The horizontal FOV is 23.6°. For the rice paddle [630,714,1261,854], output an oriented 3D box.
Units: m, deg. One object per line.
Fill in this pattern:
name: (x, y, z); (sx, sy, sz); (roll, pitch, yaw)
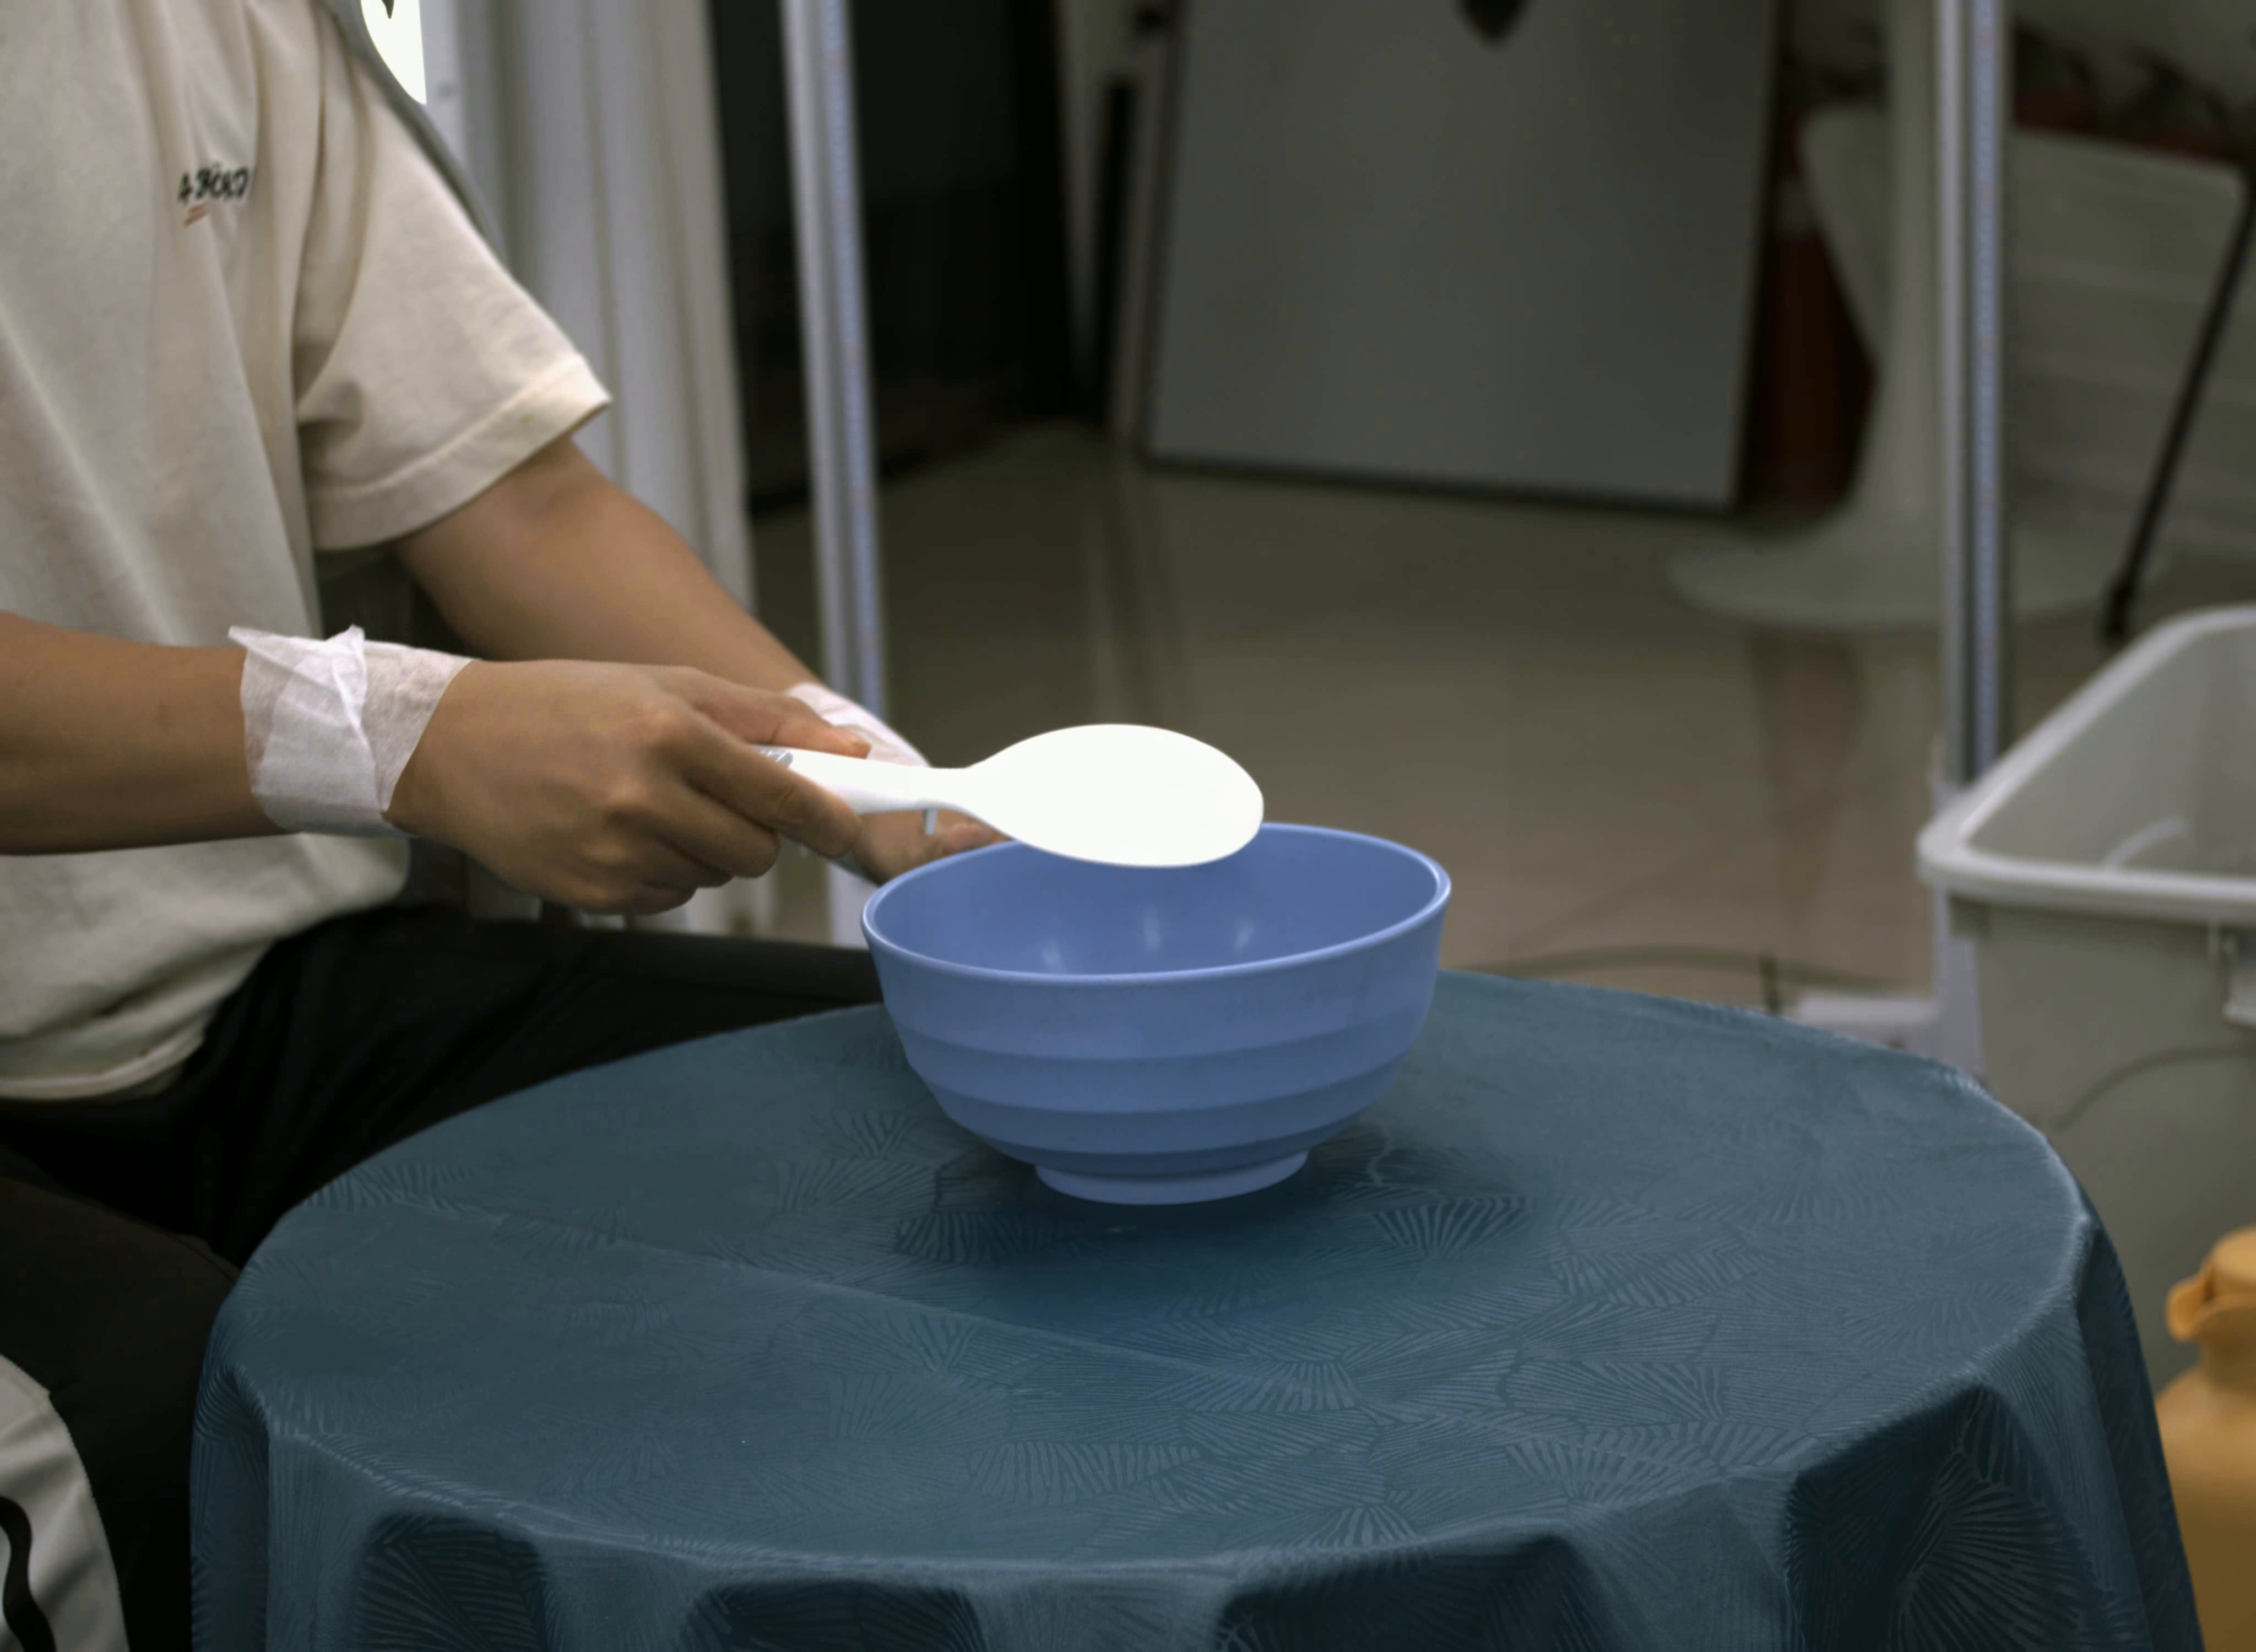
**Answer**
rice paddle: (-0.055, -0.015, 1.716); (0.201, 0.029, 0.069); (1, 40, -11)

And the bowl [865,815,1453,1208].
bowl: (0.012, 0.067, 1.789); (0.194, 0.096, 0.197); (-3, 15, 0)
